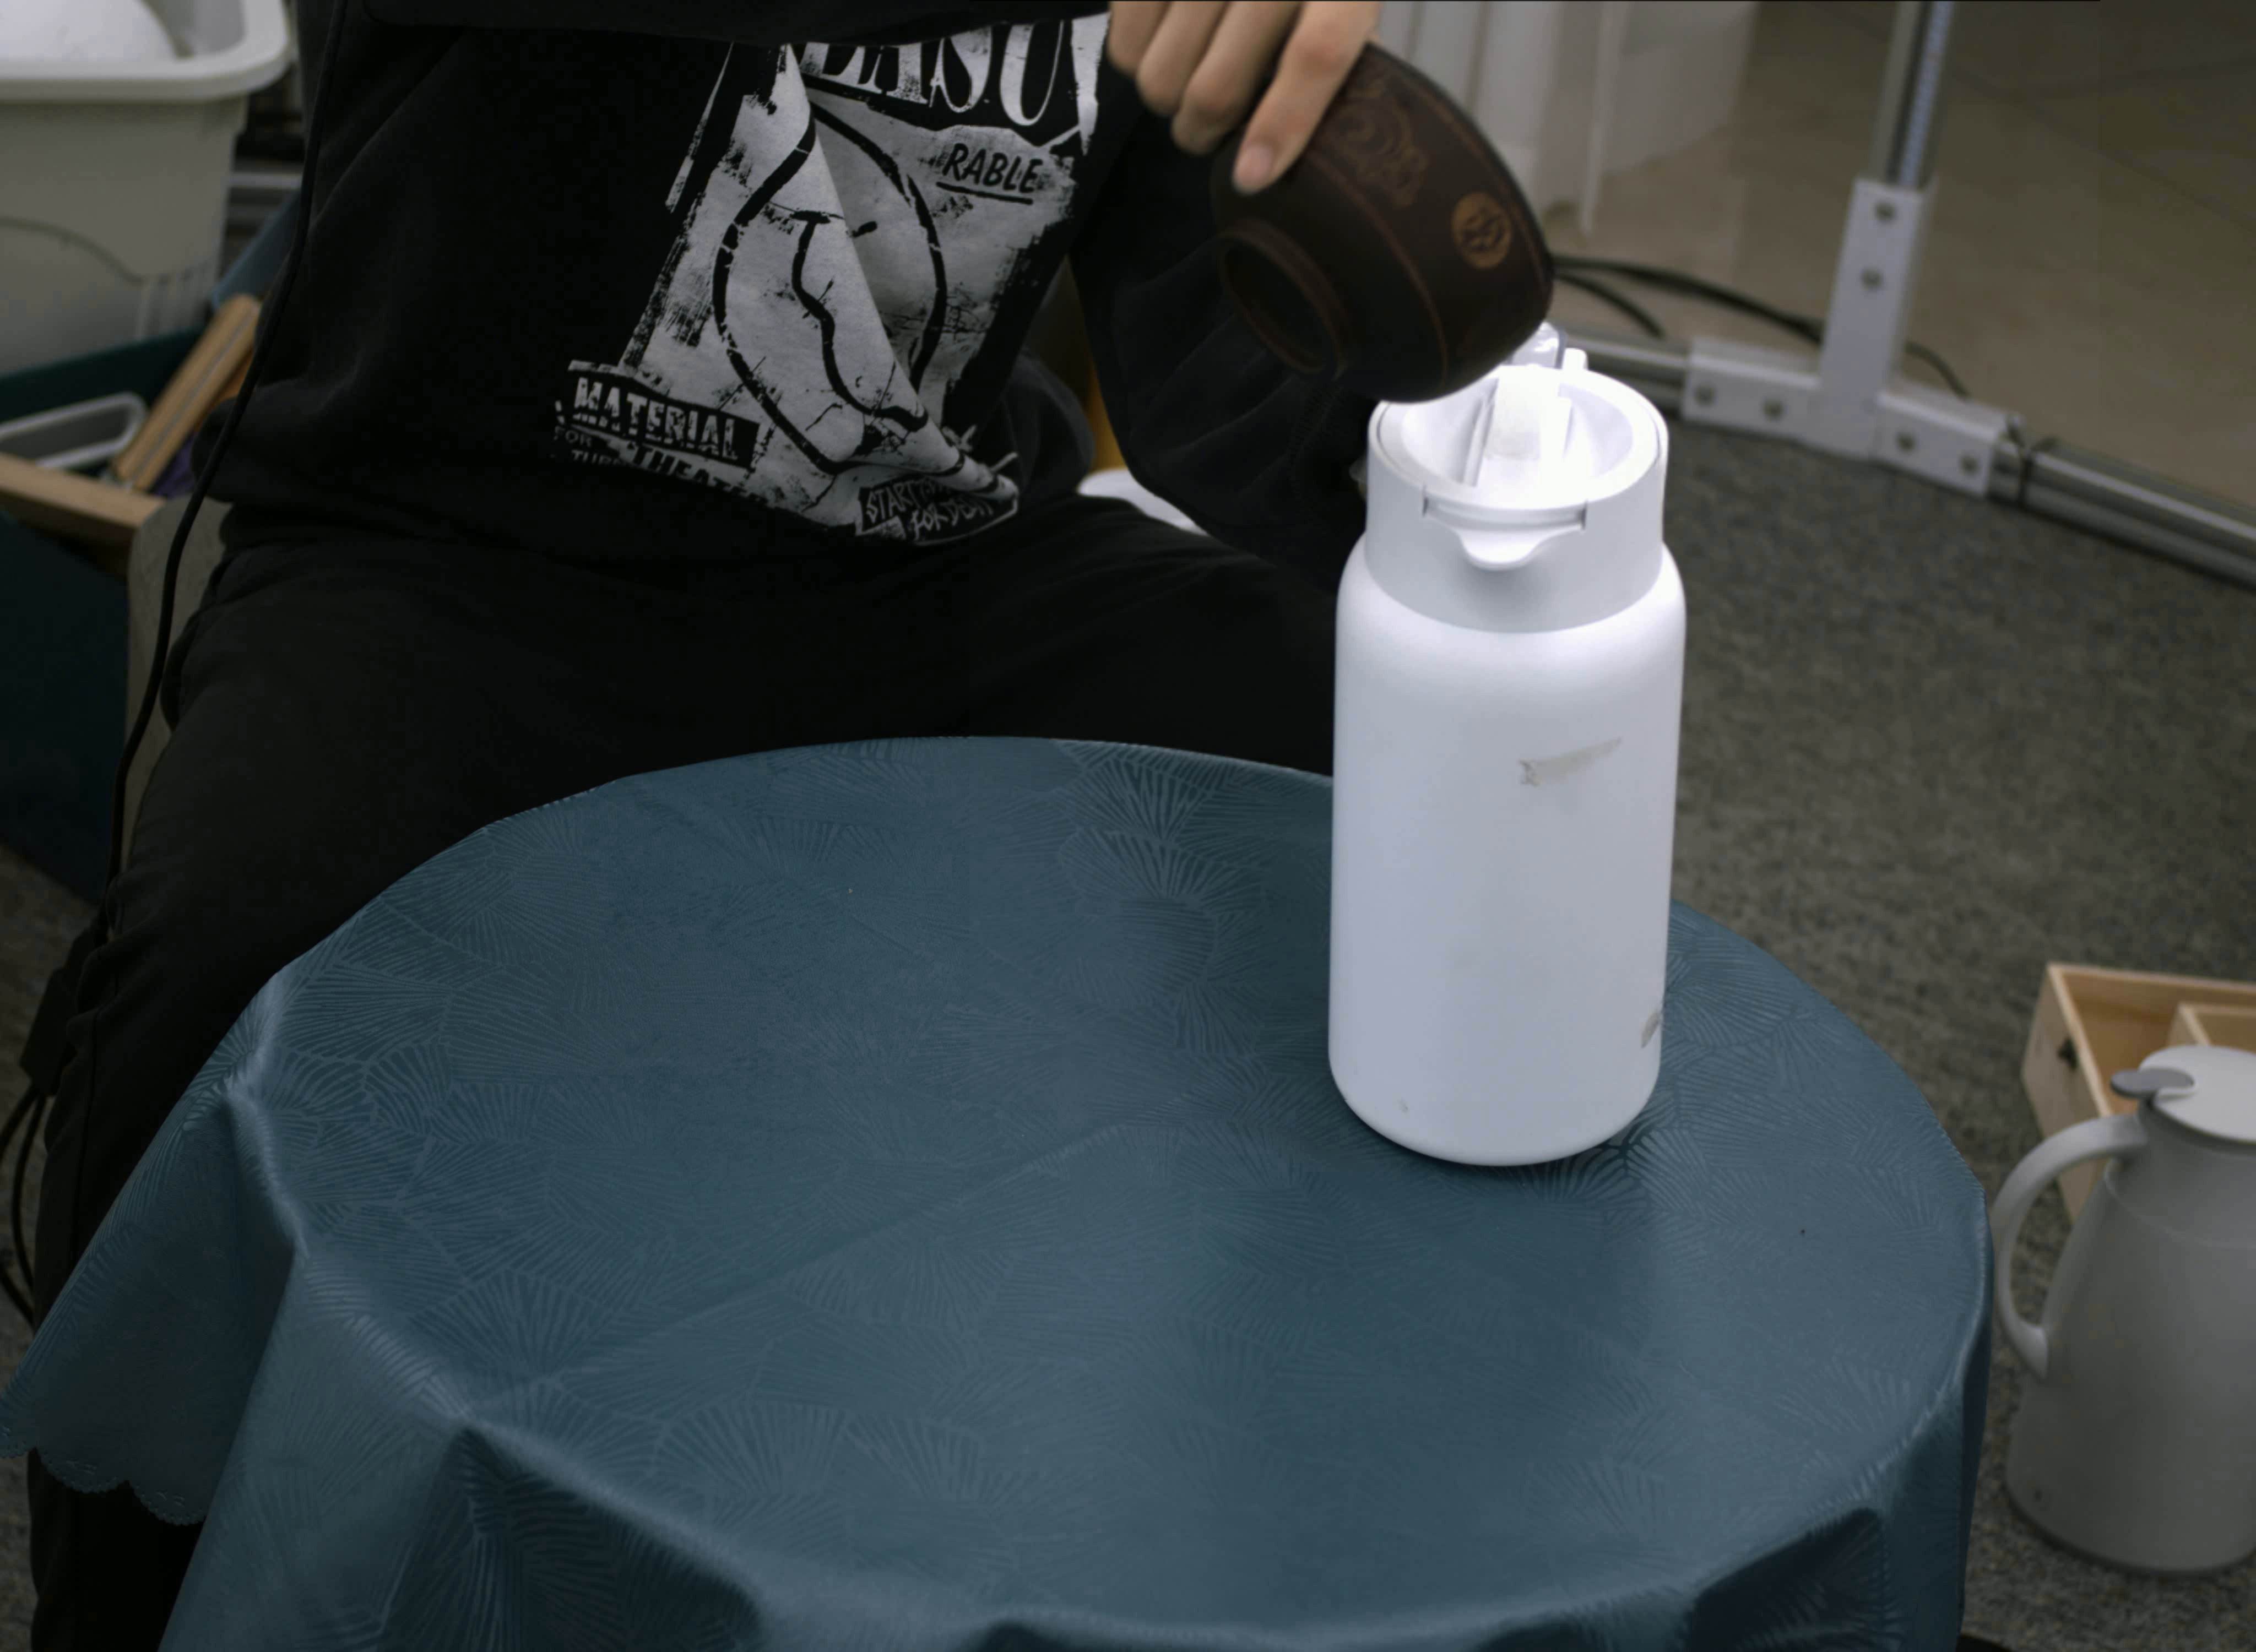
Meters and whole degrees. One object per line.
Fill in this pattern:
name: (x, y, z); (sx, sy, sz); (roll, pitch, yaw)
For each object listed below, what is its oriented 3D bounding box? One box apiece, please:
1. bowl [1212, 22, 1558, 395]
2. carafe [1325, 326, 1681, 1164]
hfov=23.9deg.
bowl: (0.071, -0.186, 1.674); (0.070, 0.117, 0.119); (-39, 46, -19)
carafe: (0.128, -0.031, 1.826); (0.124, 0.267, 0.174); (2, 34, 8)
